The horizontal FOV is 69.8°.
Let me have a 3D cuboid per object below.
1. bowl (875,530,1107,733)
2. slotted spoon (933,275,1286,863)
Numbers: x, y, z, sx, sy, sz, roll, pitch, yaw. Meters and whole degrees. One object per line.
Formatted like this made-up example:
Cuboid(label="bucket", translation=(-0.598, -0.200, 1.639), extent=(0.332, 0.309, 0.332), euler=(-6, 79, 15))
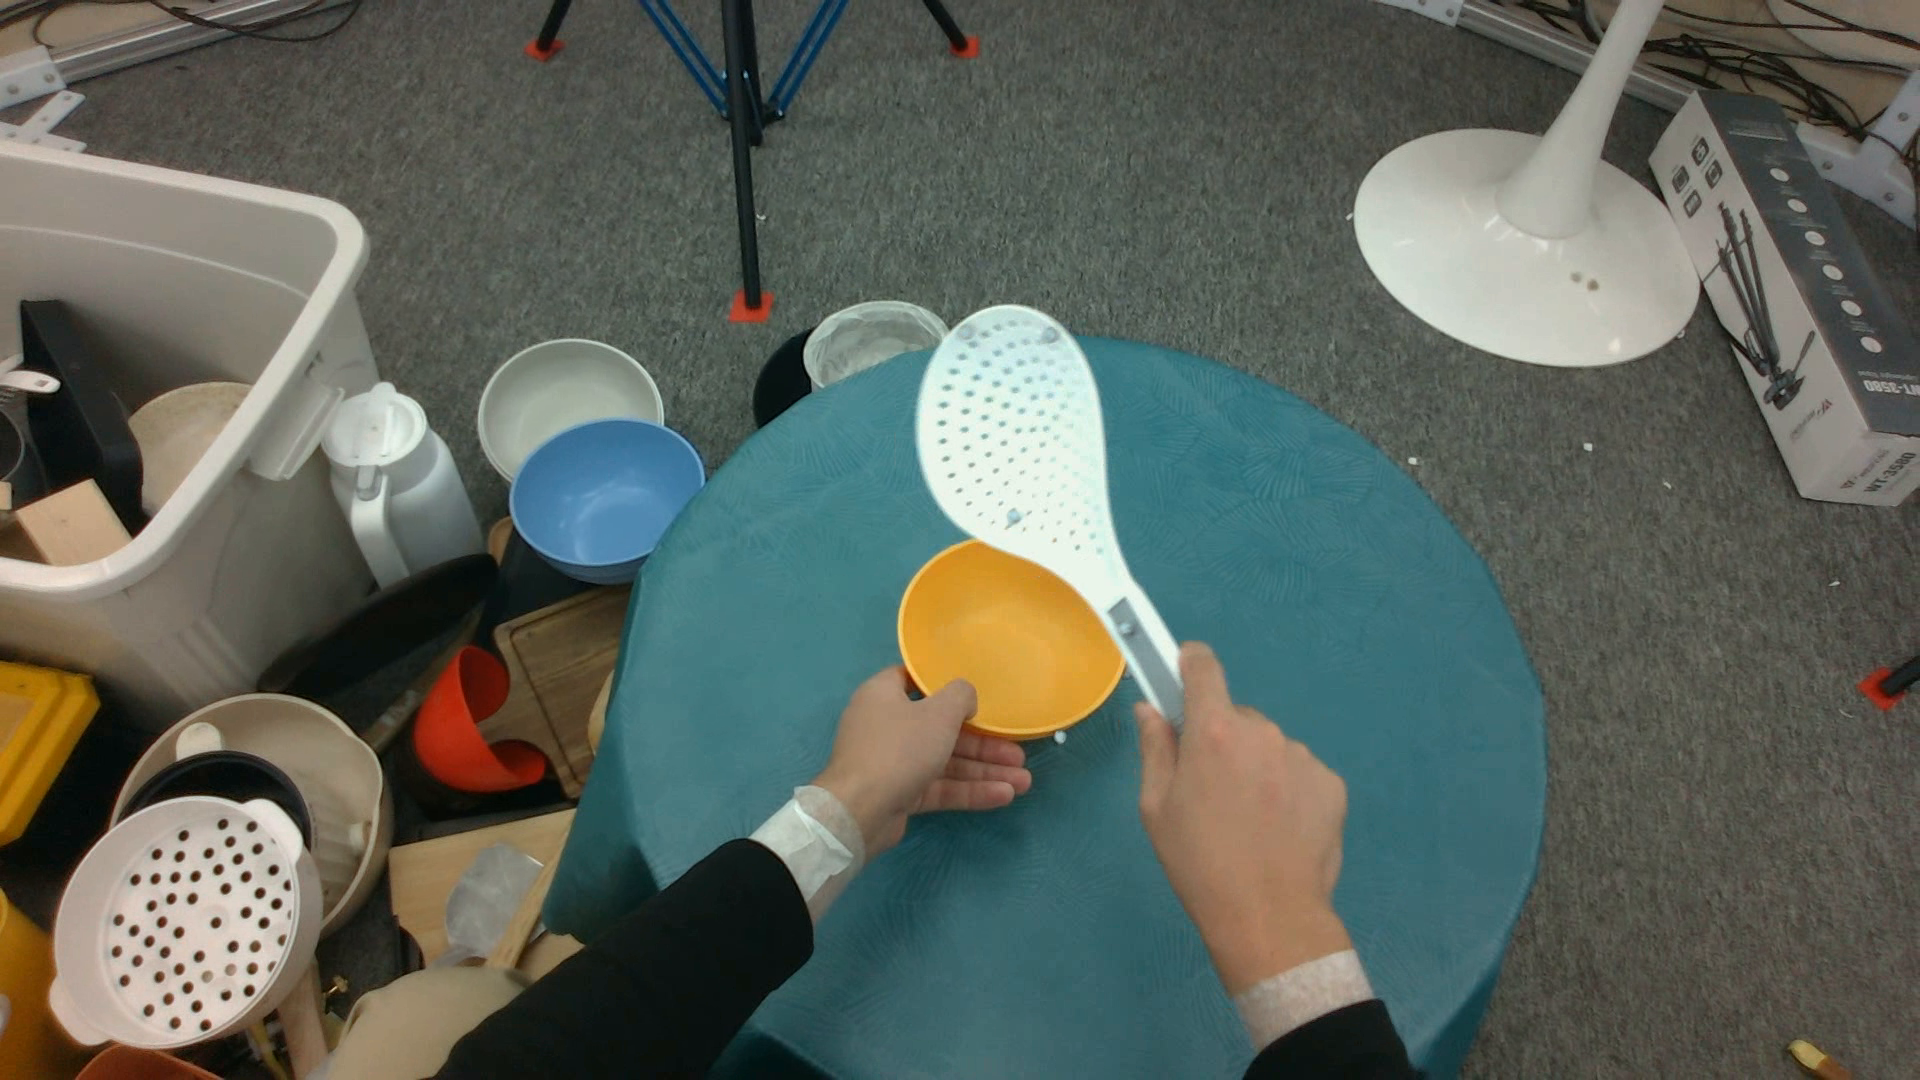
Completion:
Cuboid(label="bowl", translation=(0.017, 0.067, 0.869), extent=(0.145, 0.060, 0.146), euler=(3, 52, -3))
Cuboid(label="slotted spoon", translation=(0.080, 0.008, 0.737), extent=(0.046, 0.135, 0.350), euler=(7, 51, -42))
